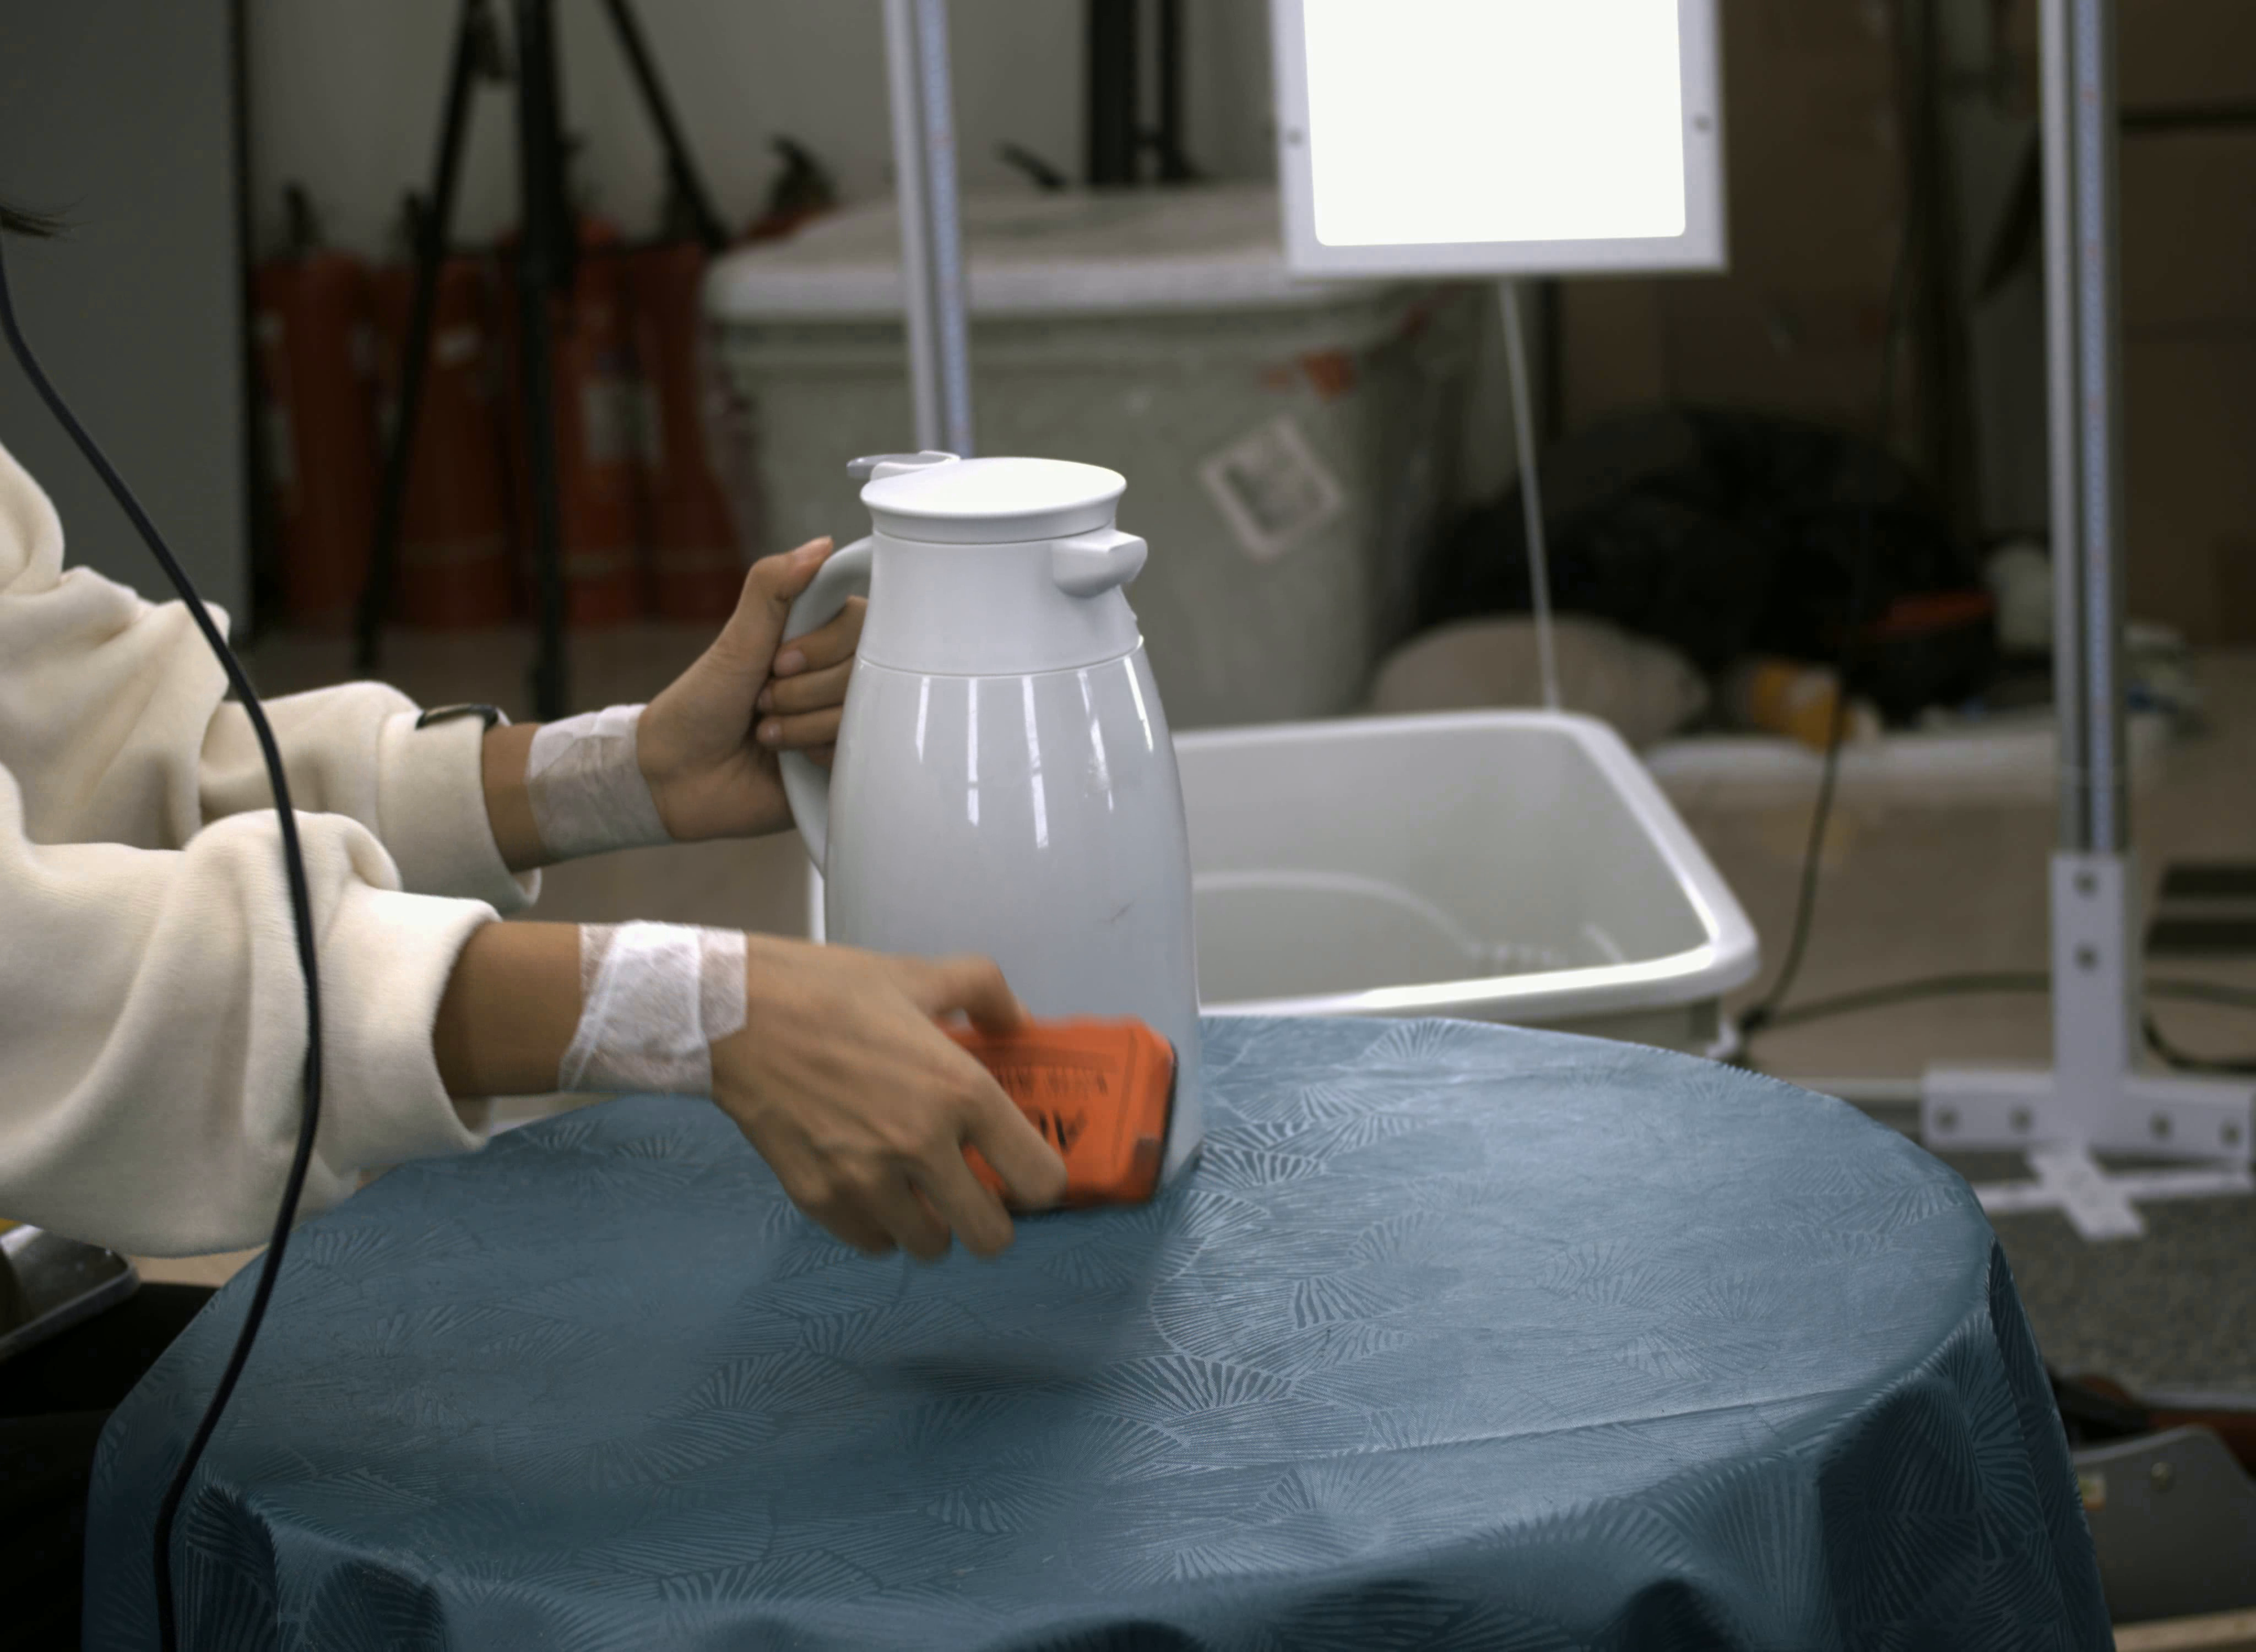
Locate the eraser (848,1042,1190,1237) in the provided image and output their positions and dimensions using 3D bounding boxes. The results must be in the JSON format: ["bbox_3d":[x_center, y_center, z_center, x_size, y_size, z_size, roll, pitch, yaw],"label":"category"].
[{"bbox_3d":[-0.034,0.099,1.735,0.110,0.059,0.022,-3,-28,32],"label":"eraser"}]

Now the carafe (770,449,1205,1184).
[{"bbox_3d":[-0.058,-0.006,1.927,0.171,0.249,0.129,9,19,41],"label":"carafe"}]
